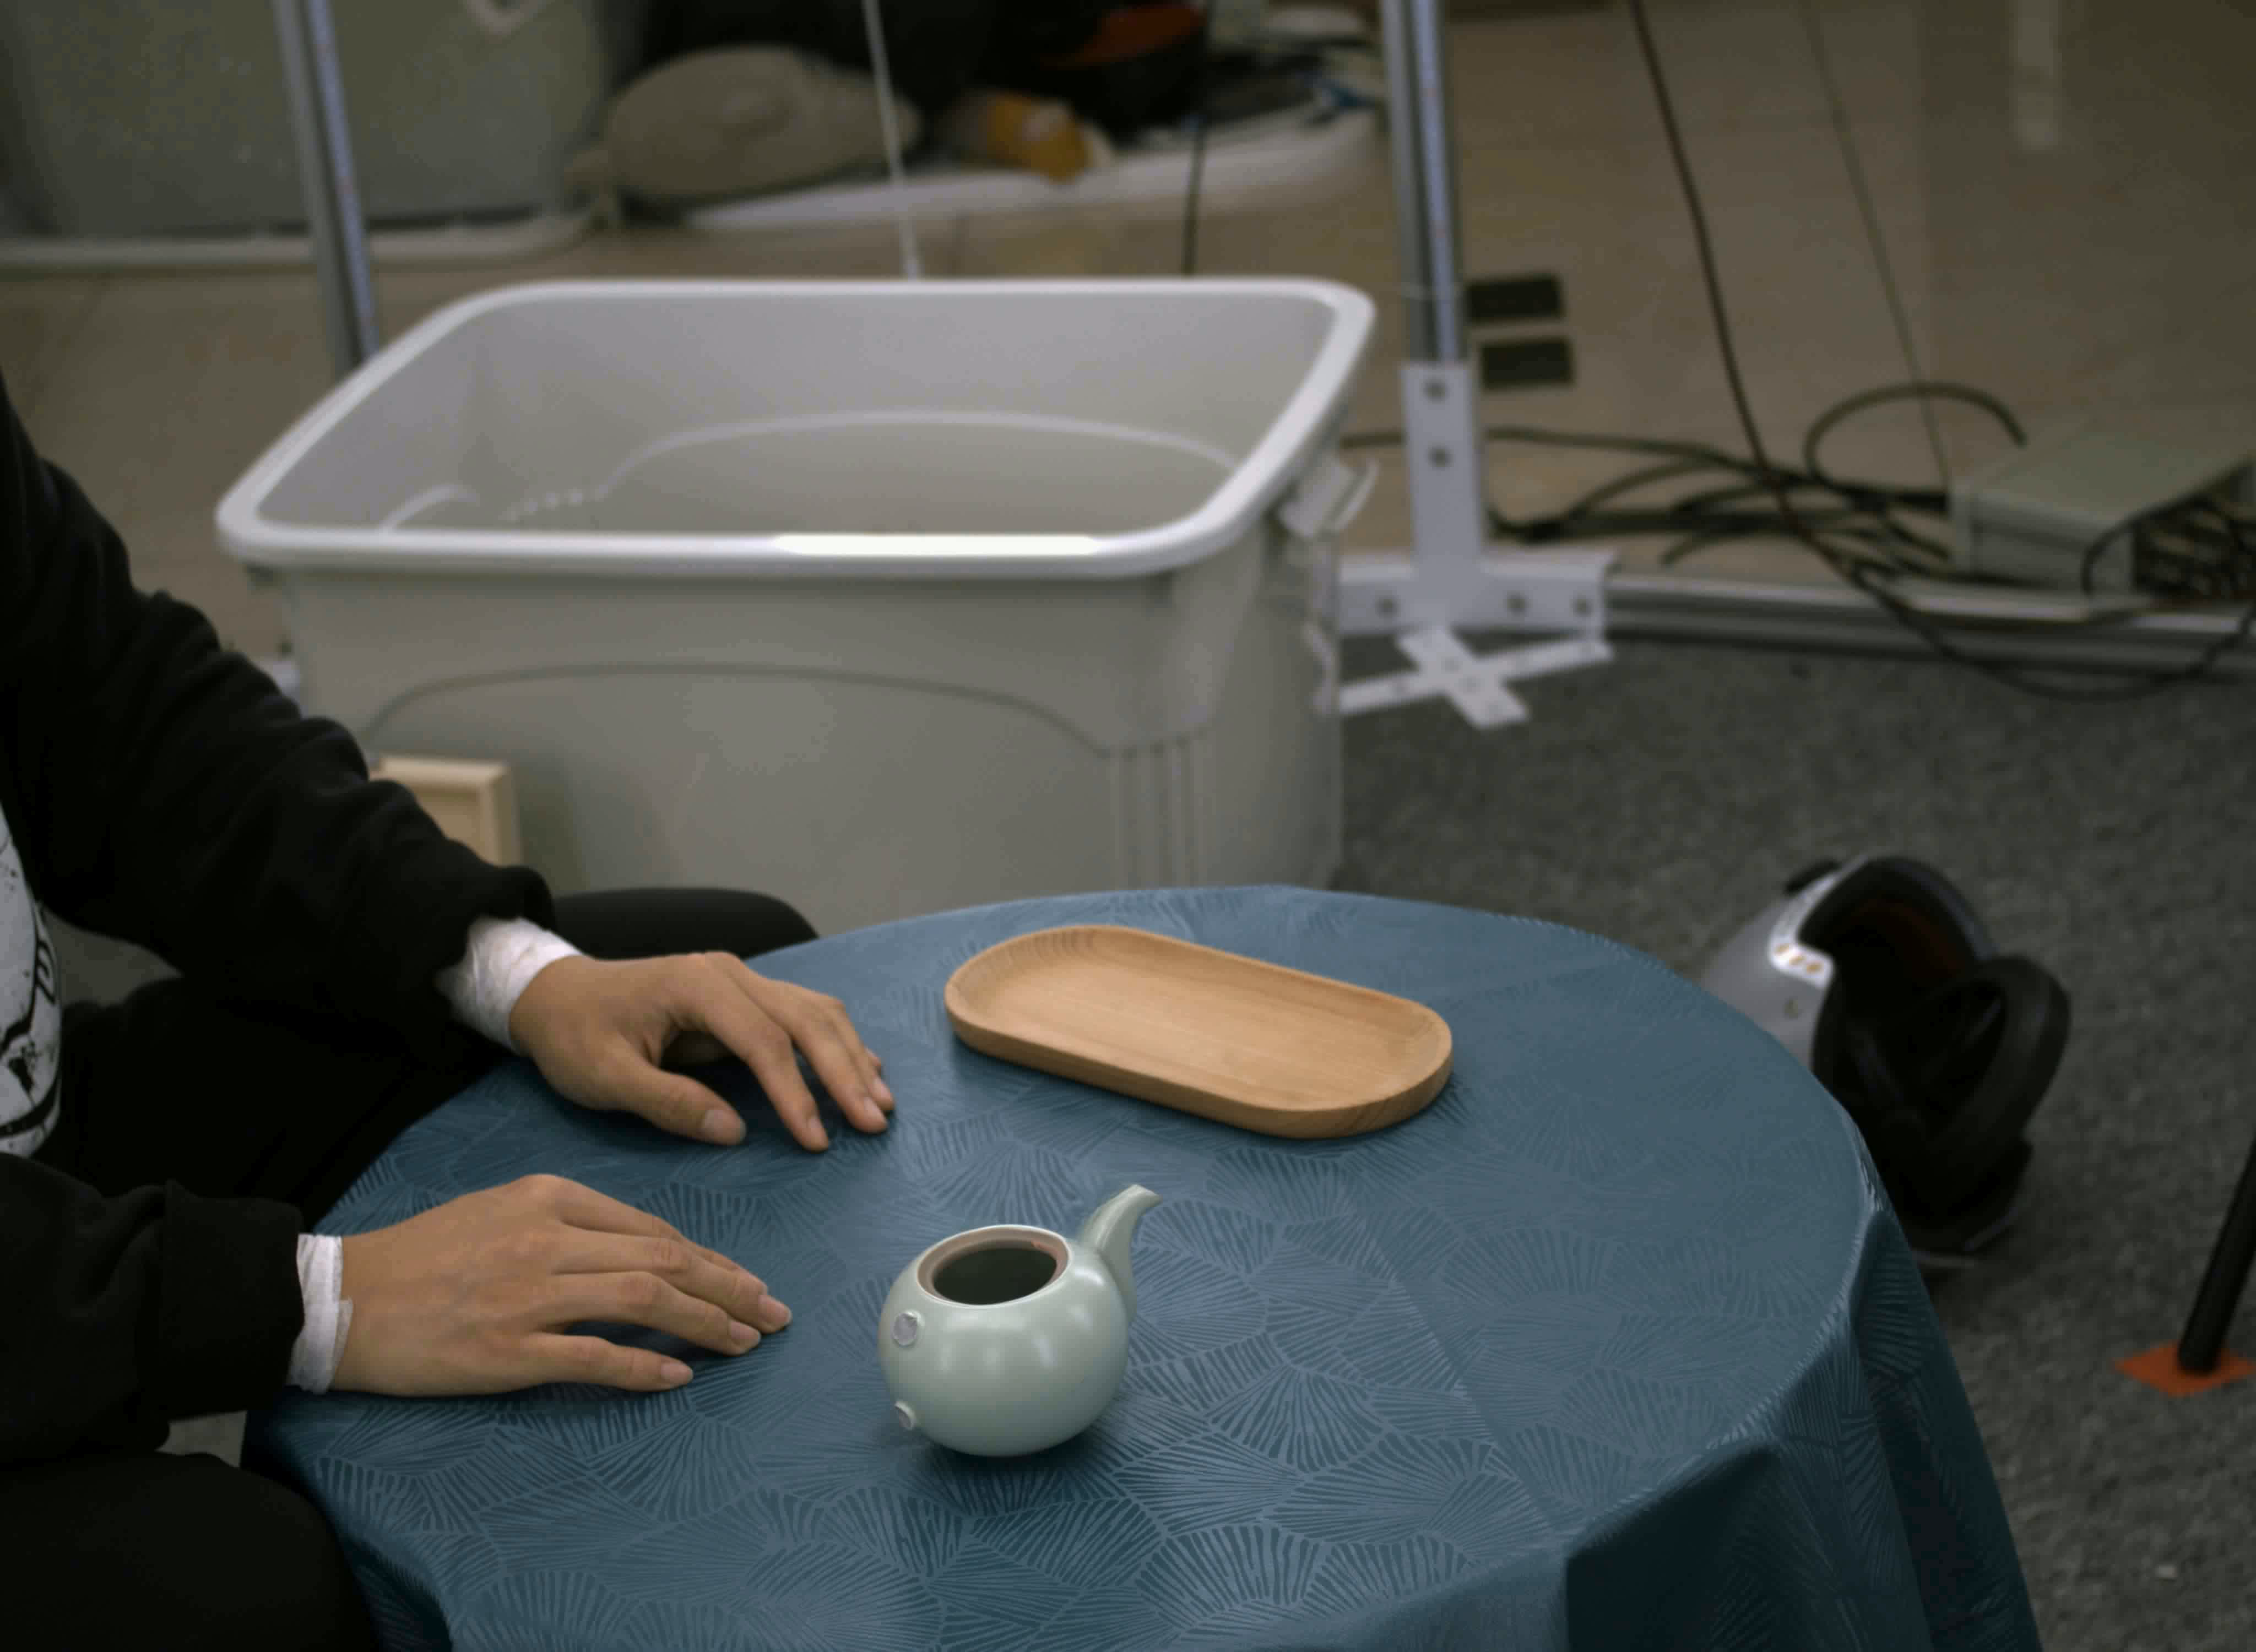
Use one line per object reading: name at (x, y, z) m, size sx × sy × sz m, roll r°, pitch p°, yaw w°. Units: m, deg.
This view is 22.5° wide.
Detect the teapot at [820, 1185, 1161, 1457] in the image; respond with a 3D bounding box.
teapot at (-0.045, 0.179, 1.988) m, size 0.143 × 0.076 × 0.087 m, roll -19°, pitch 28°, yaw -29°

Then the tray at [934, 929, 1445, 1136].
tray at (0.023, 0.081, 2.250) m, size 0.230 × 0.020 × 0.101 m, roll 12°, pitch 29°, yaw 38°
